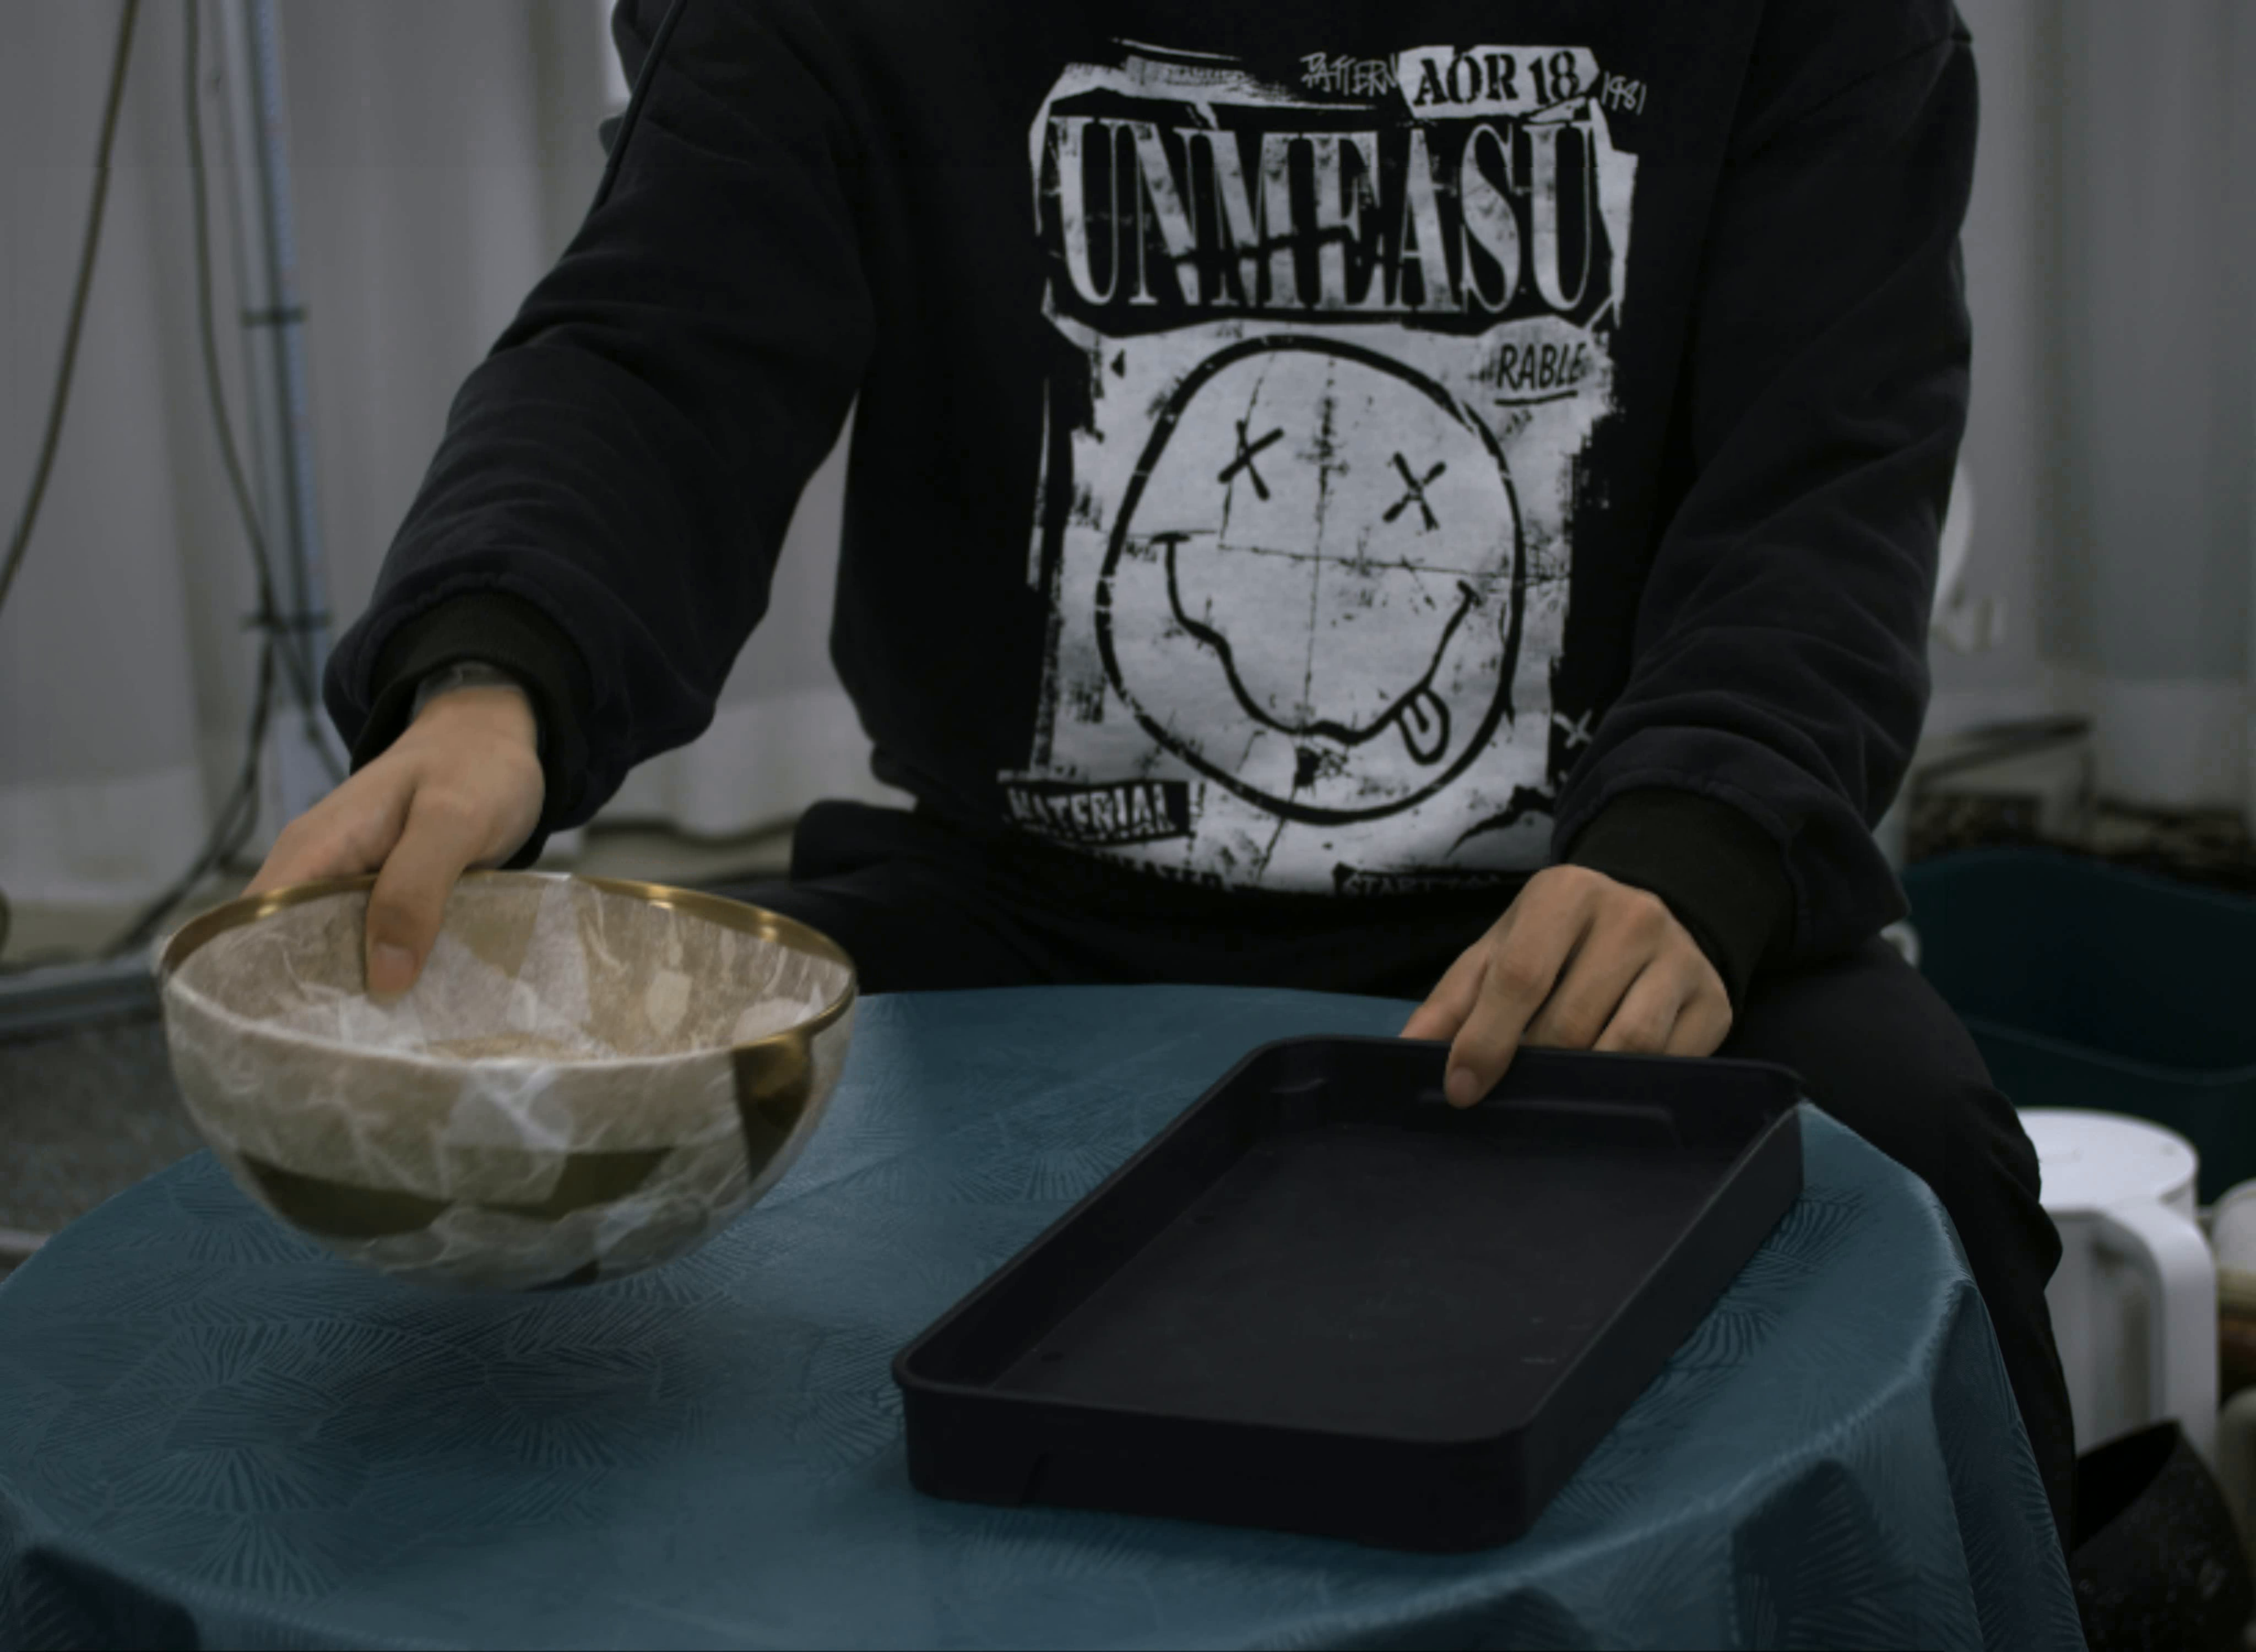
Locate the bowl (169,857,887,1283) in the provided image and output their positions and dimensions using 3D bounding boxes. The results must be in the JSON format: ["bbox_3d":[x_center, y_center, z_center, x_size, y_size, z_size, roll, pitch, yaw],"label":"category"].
[{"bbox_3d":[-0.173,0.077,1.578,0.214,0.094,0.216,3,13,-1],"label":"bowl"}]

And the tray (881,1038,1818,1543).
[{"bbox_3d":[0.073,0.127,1.575,0.184,0.037,0.319,2,16,23],"label":"tray"}]
